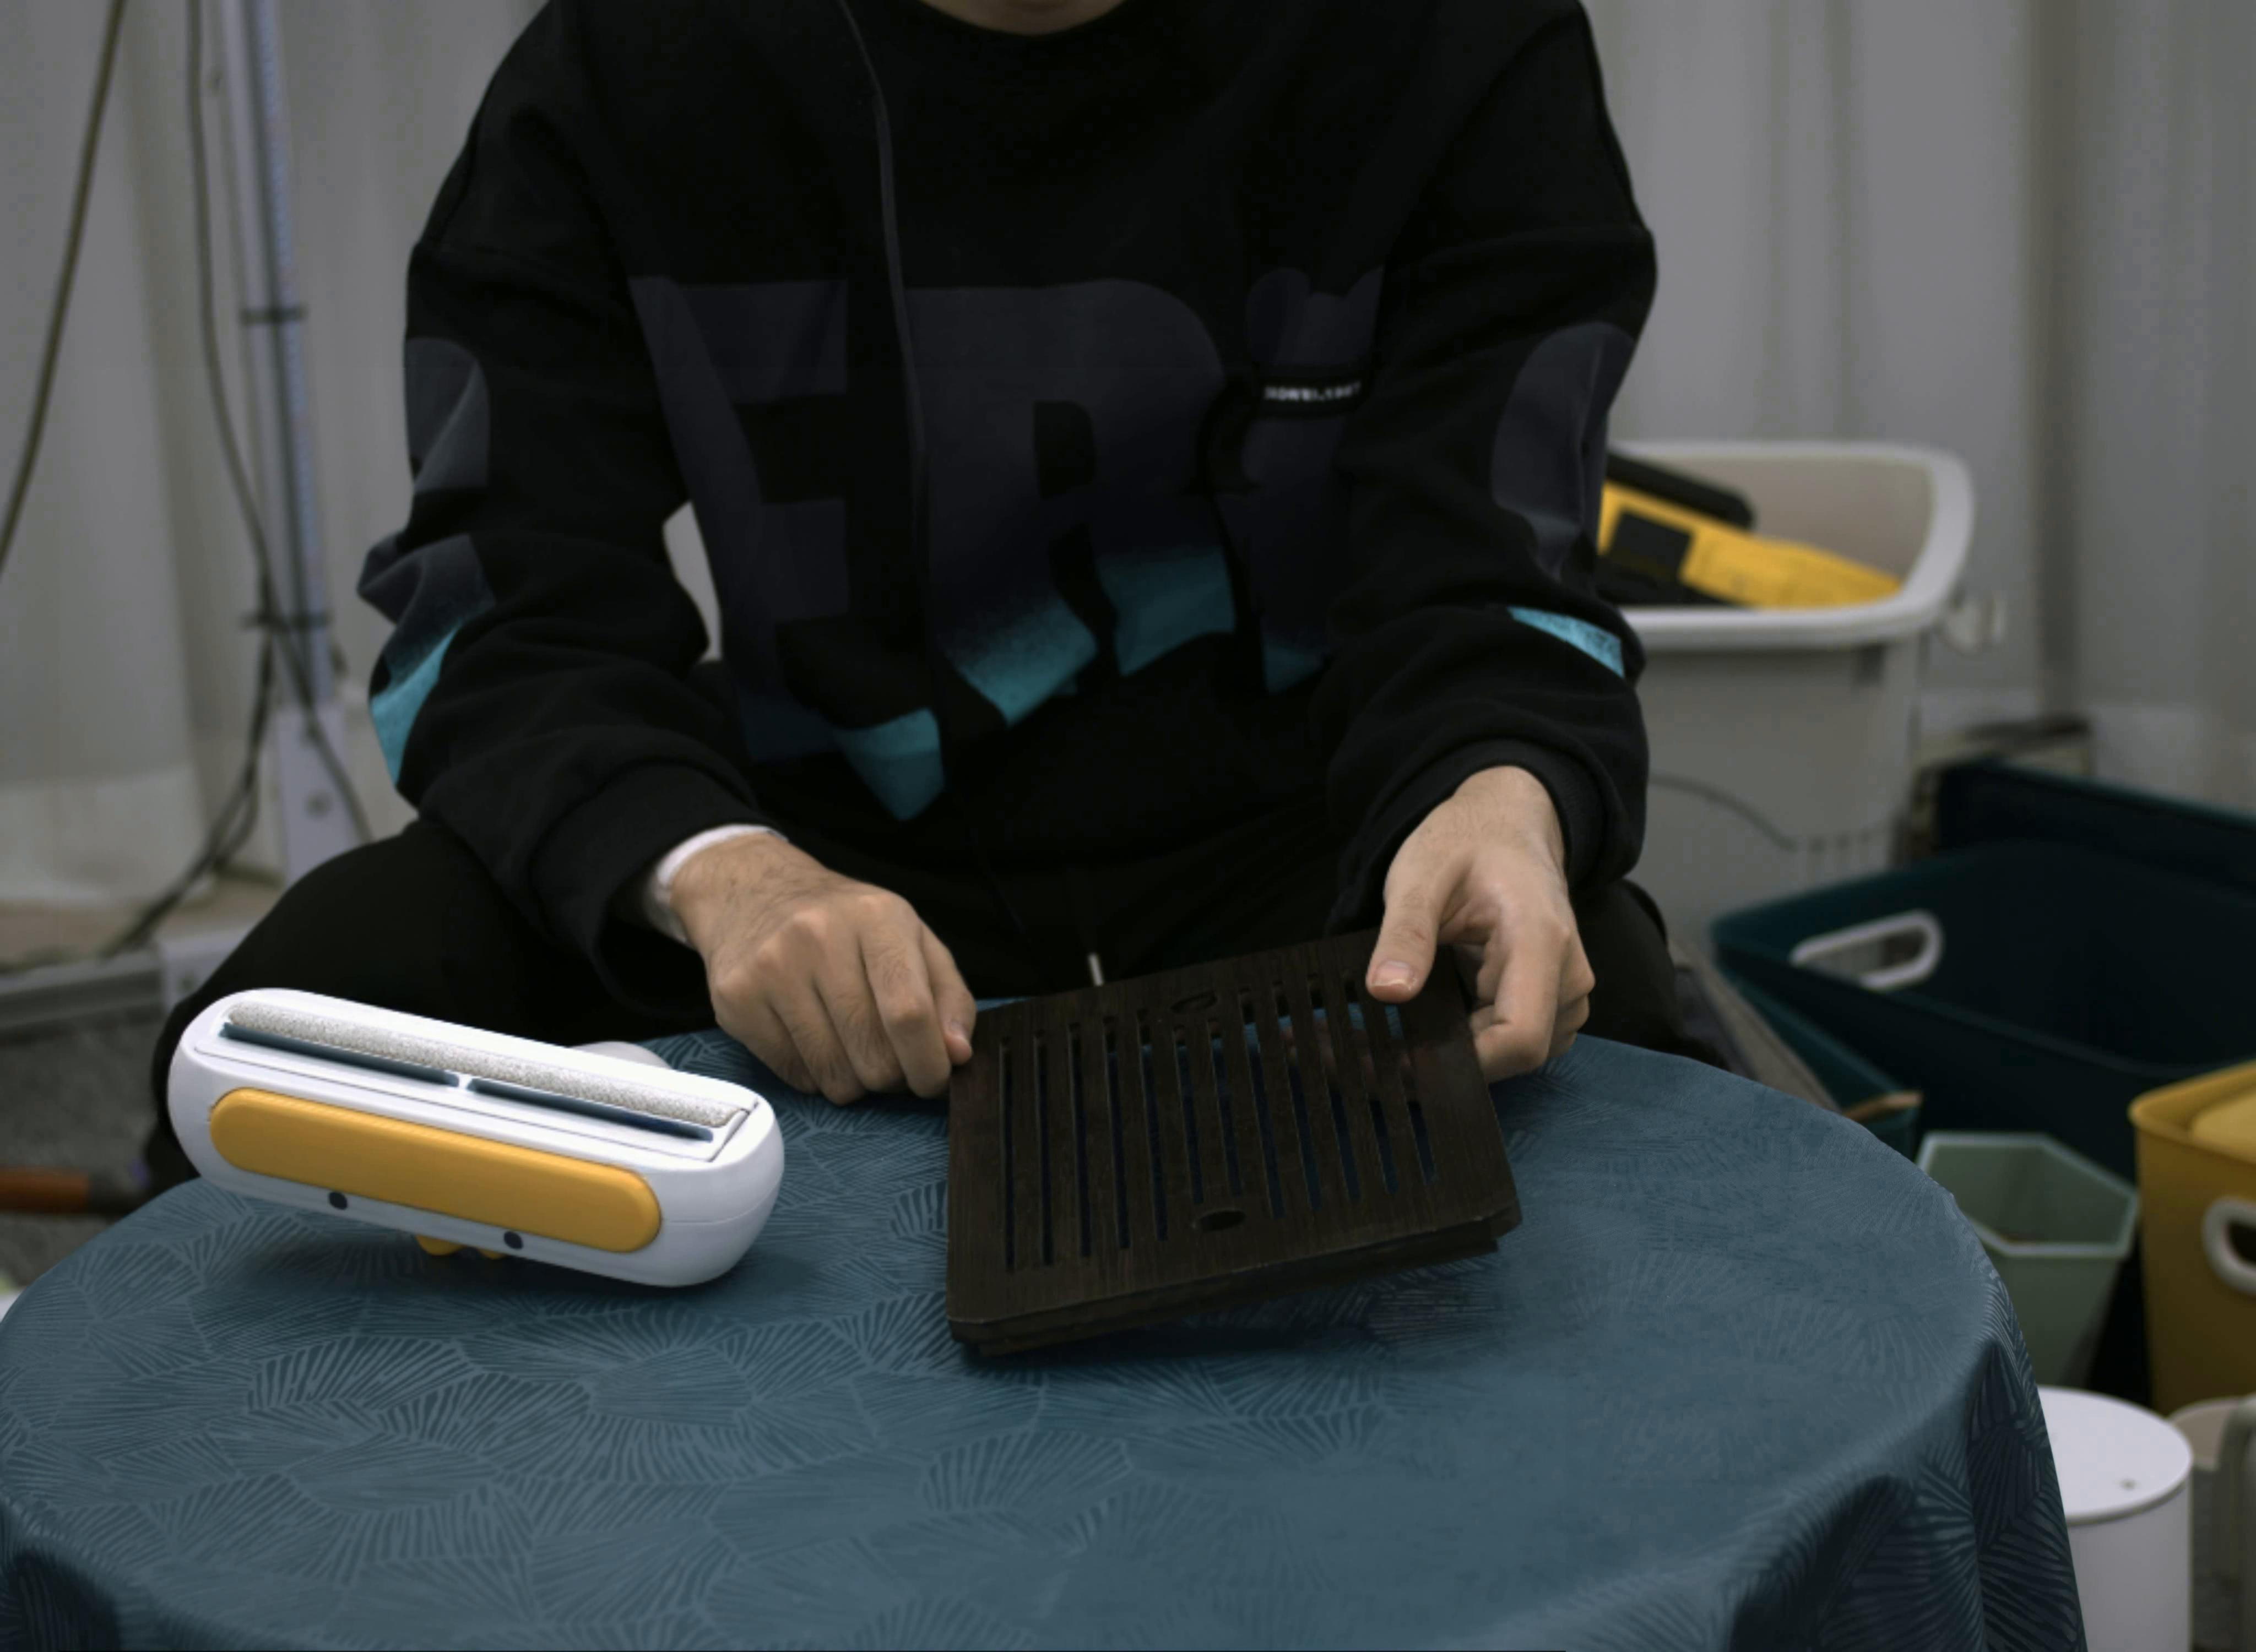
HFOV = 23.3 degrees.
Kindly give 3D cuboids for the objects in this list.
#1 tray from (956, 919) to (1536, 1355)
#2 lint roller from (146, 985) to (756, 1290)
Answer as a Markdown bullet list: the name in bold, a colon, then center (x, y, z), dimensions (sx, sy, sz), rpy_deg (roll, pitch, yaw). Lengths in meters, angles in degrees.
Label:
- **tray**: center (0.031, 0.093, 1.705), dimensions (0.169, 0.018, 0.308), rpy_deg (-12, 15, 2)
- **lint roller**: center (-0.188, 0.087, 1.726), dimensions (0.193, 0.074, 0.193), rpy_deg (8, 16, 18)
